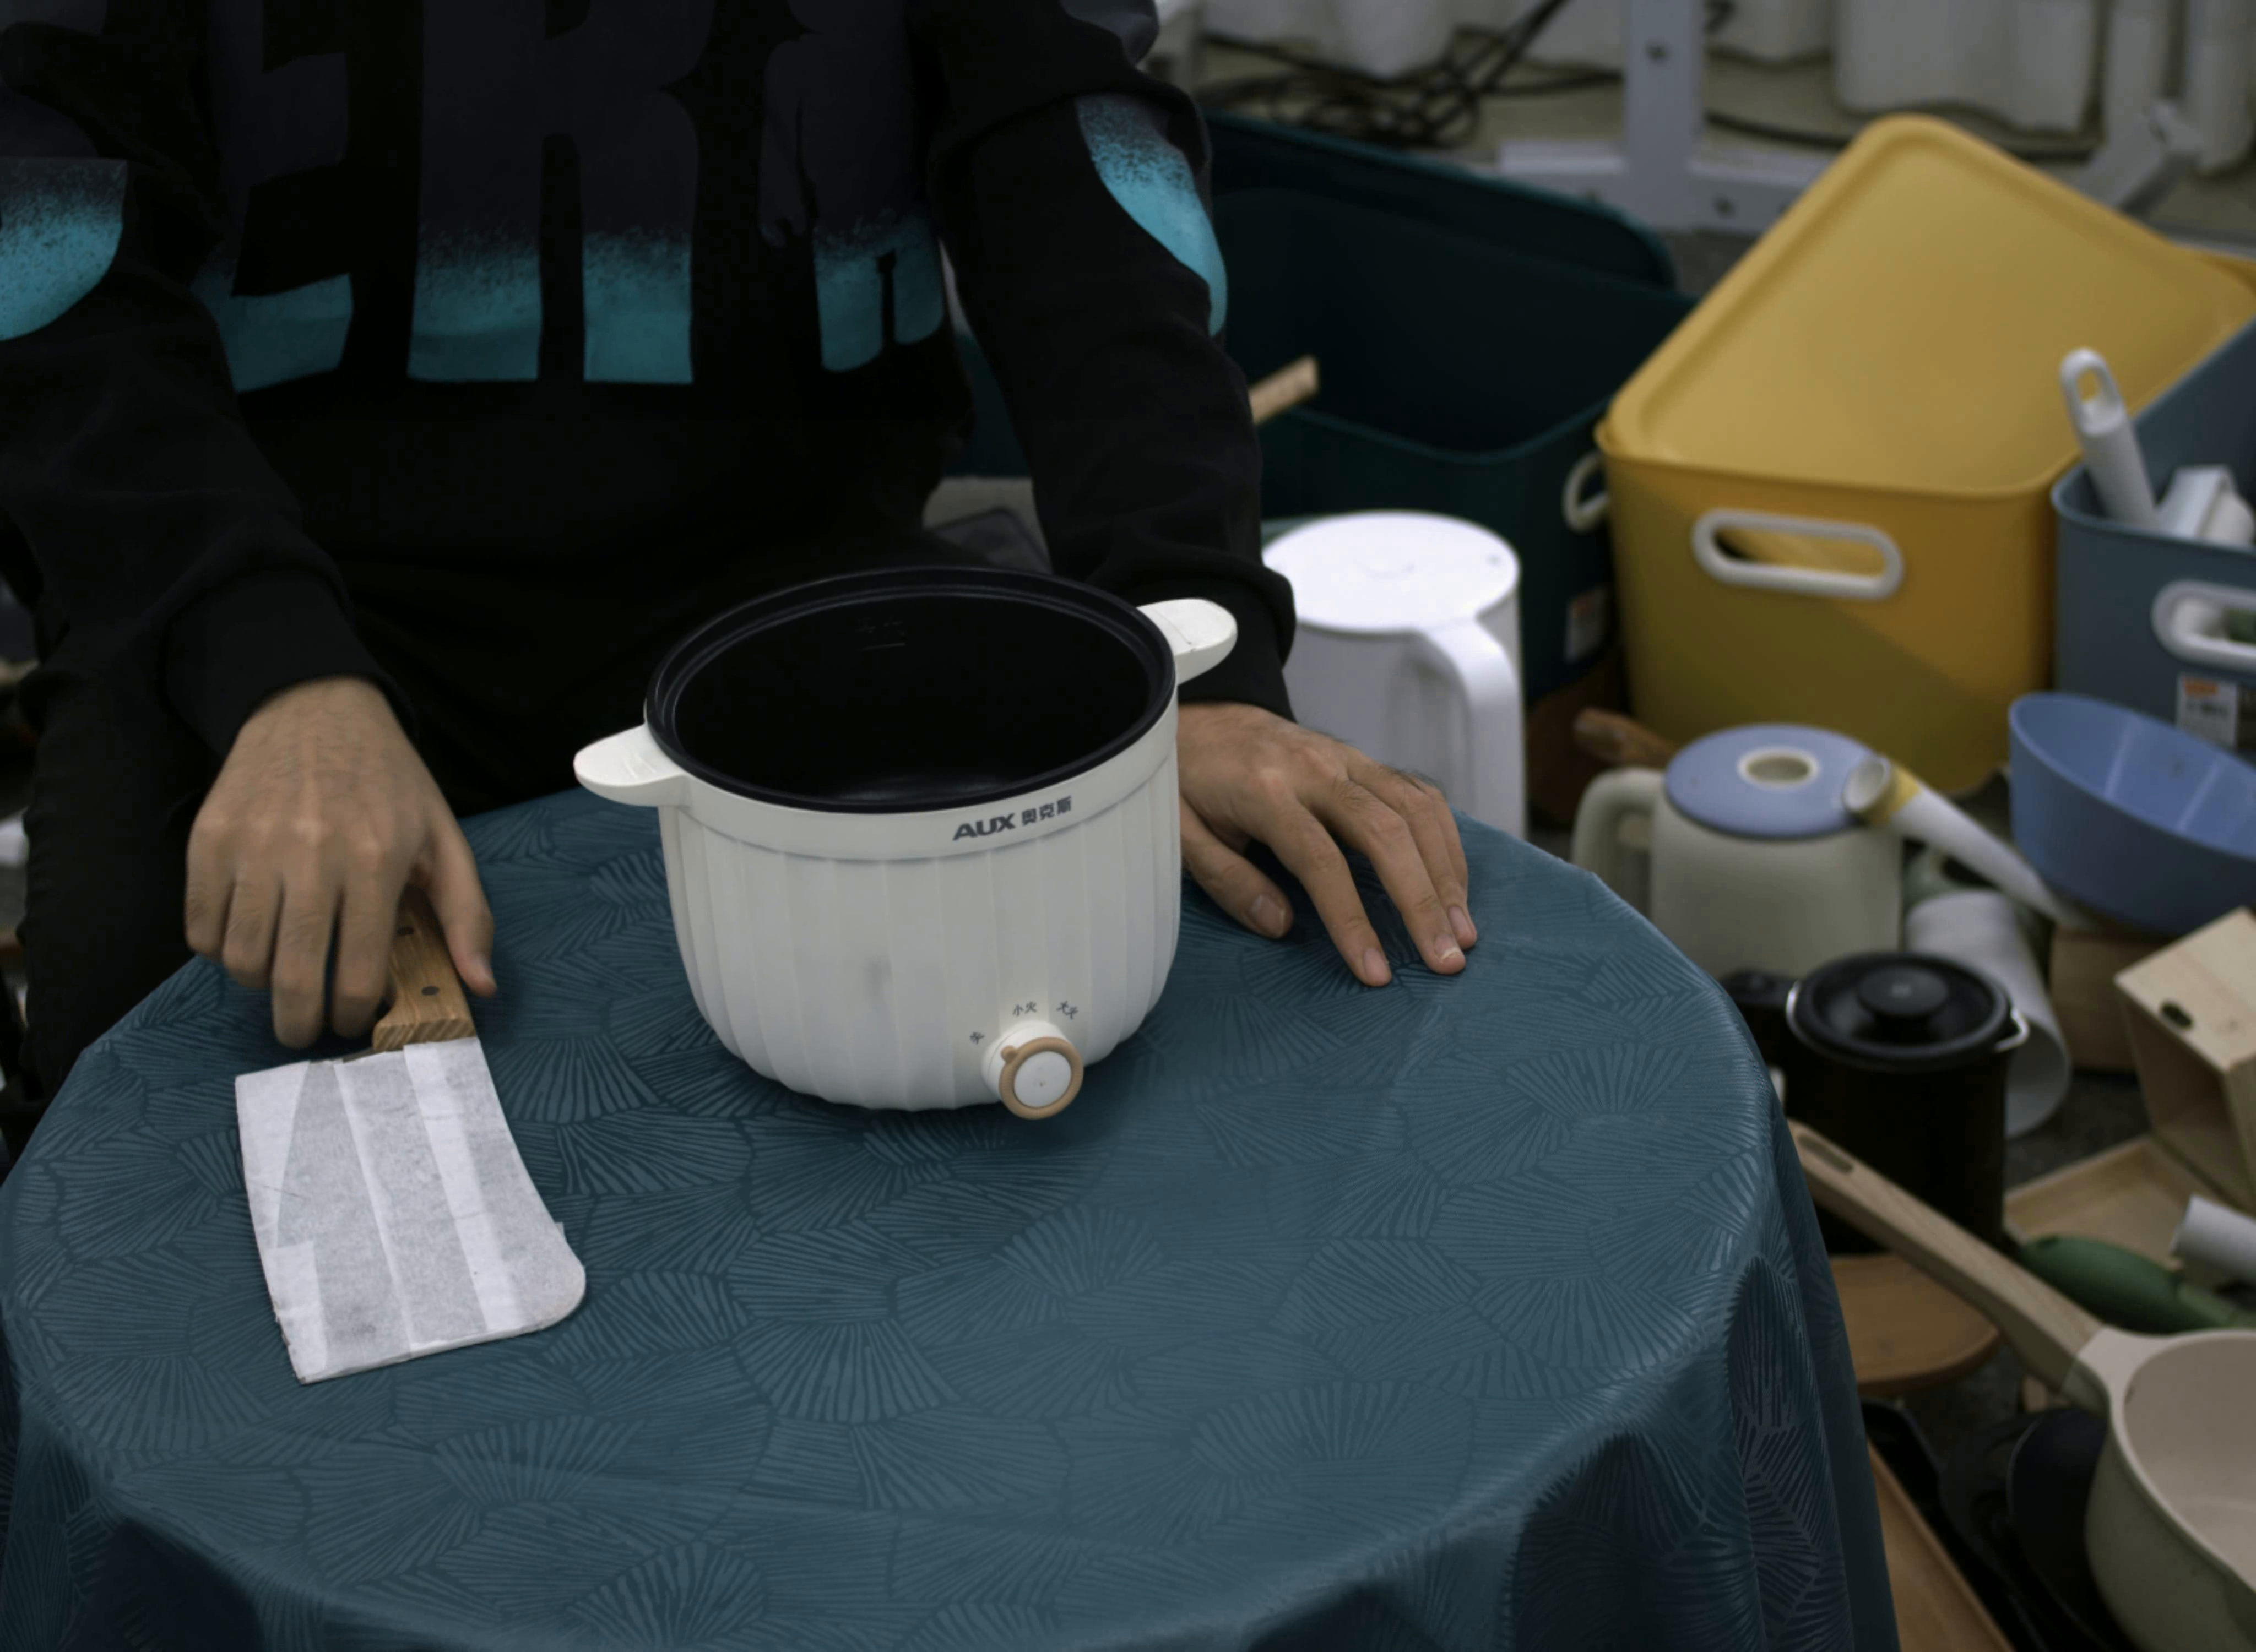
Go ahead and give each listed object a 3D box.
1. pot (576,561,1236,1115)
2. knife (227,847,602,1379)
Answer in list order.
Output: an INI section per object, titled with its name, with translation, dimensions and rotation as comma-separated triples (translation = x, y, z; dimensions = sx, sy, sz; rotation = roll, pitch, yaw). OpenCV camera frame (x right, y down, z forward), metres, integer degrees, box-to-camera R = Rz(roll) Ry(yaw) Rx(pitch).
[pot]
translation = -0.066, 0.010, 1.935
dimensions = 0.241, 0.141, 0.191
rotation = -15, 26, -20
[knife]
translation = -0.250, 0.094, 1.921
dimensions = 0.114, 0.021, 0.319
rotation = -8, 30, -9
